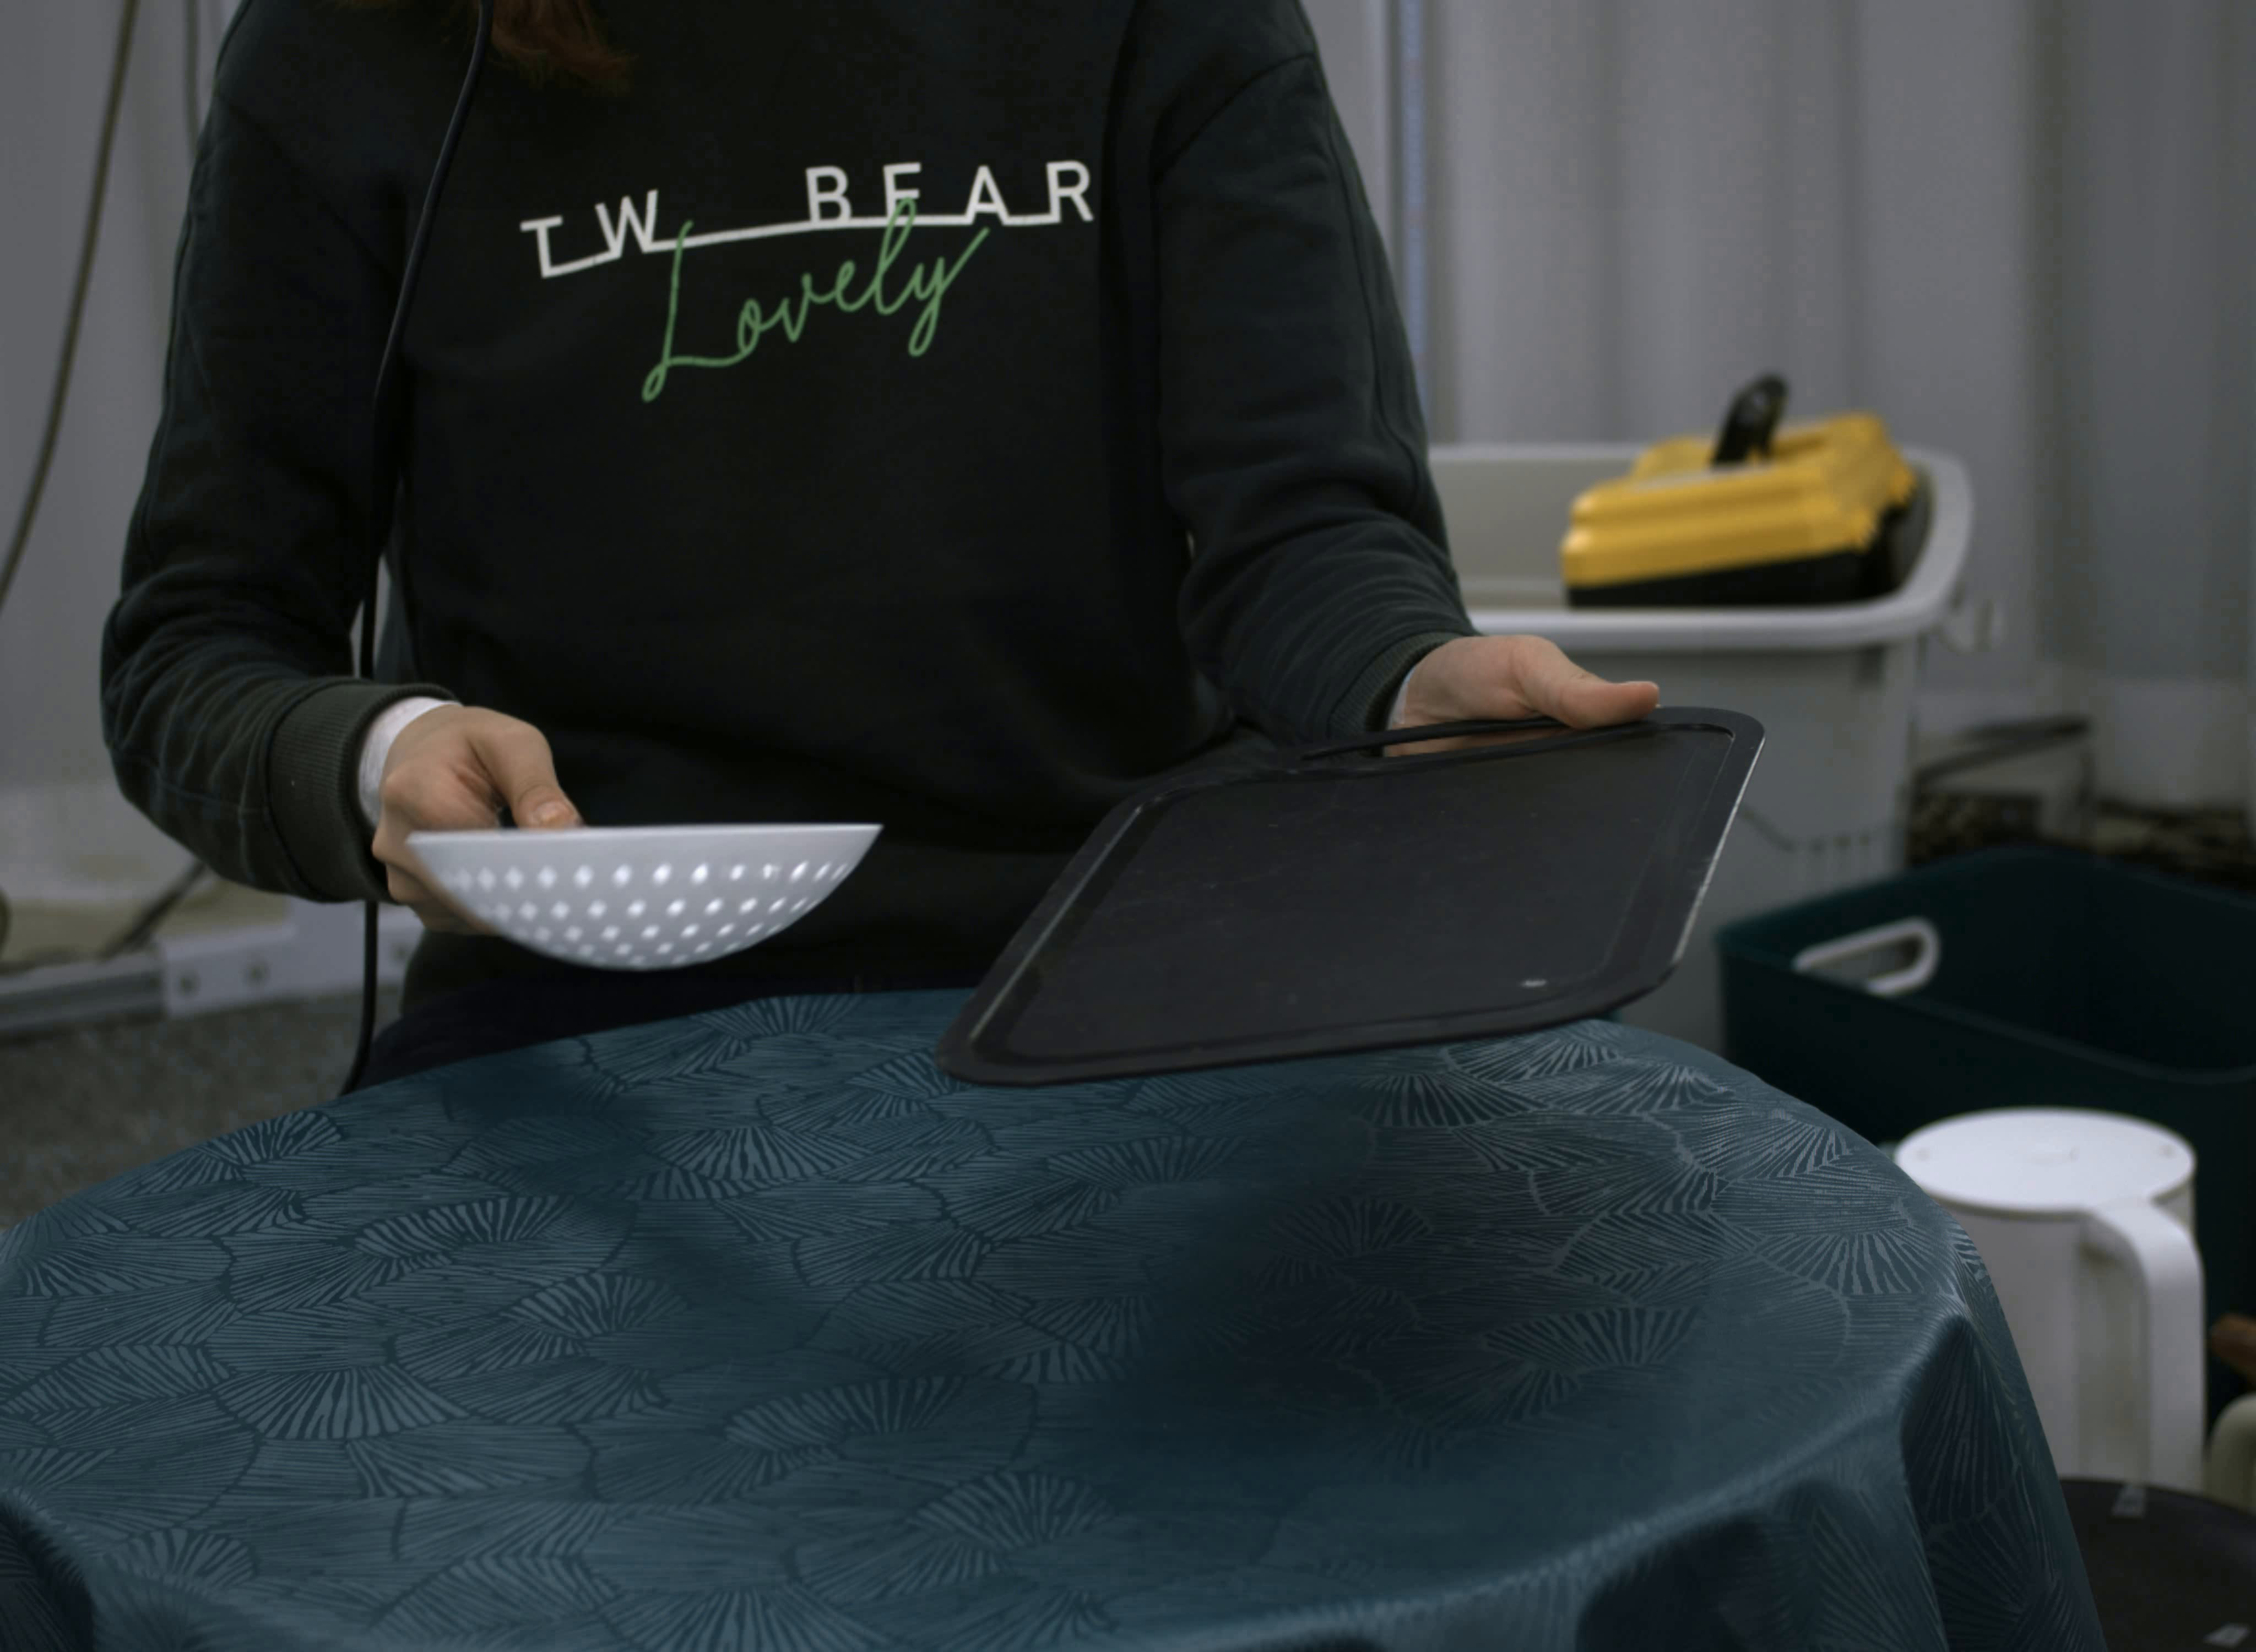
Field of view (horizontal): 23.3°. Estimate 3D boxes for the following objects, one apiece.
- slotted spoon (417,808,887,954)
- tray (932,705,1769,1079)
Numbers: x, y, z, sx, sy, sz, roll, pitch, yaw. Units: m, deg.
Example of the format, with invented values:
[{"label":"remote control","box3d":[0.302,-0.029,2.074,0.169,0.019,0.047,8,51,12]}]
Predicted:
[{"label":"slotted spoon","box3d":[-0.165,0.007,1.683,0.135,0.046,0.351,1,3,-15]},{"label":"tray","box3d":[0.072,0.013,1.602,0.211,0.010,0.327,-6,15,16]}]
